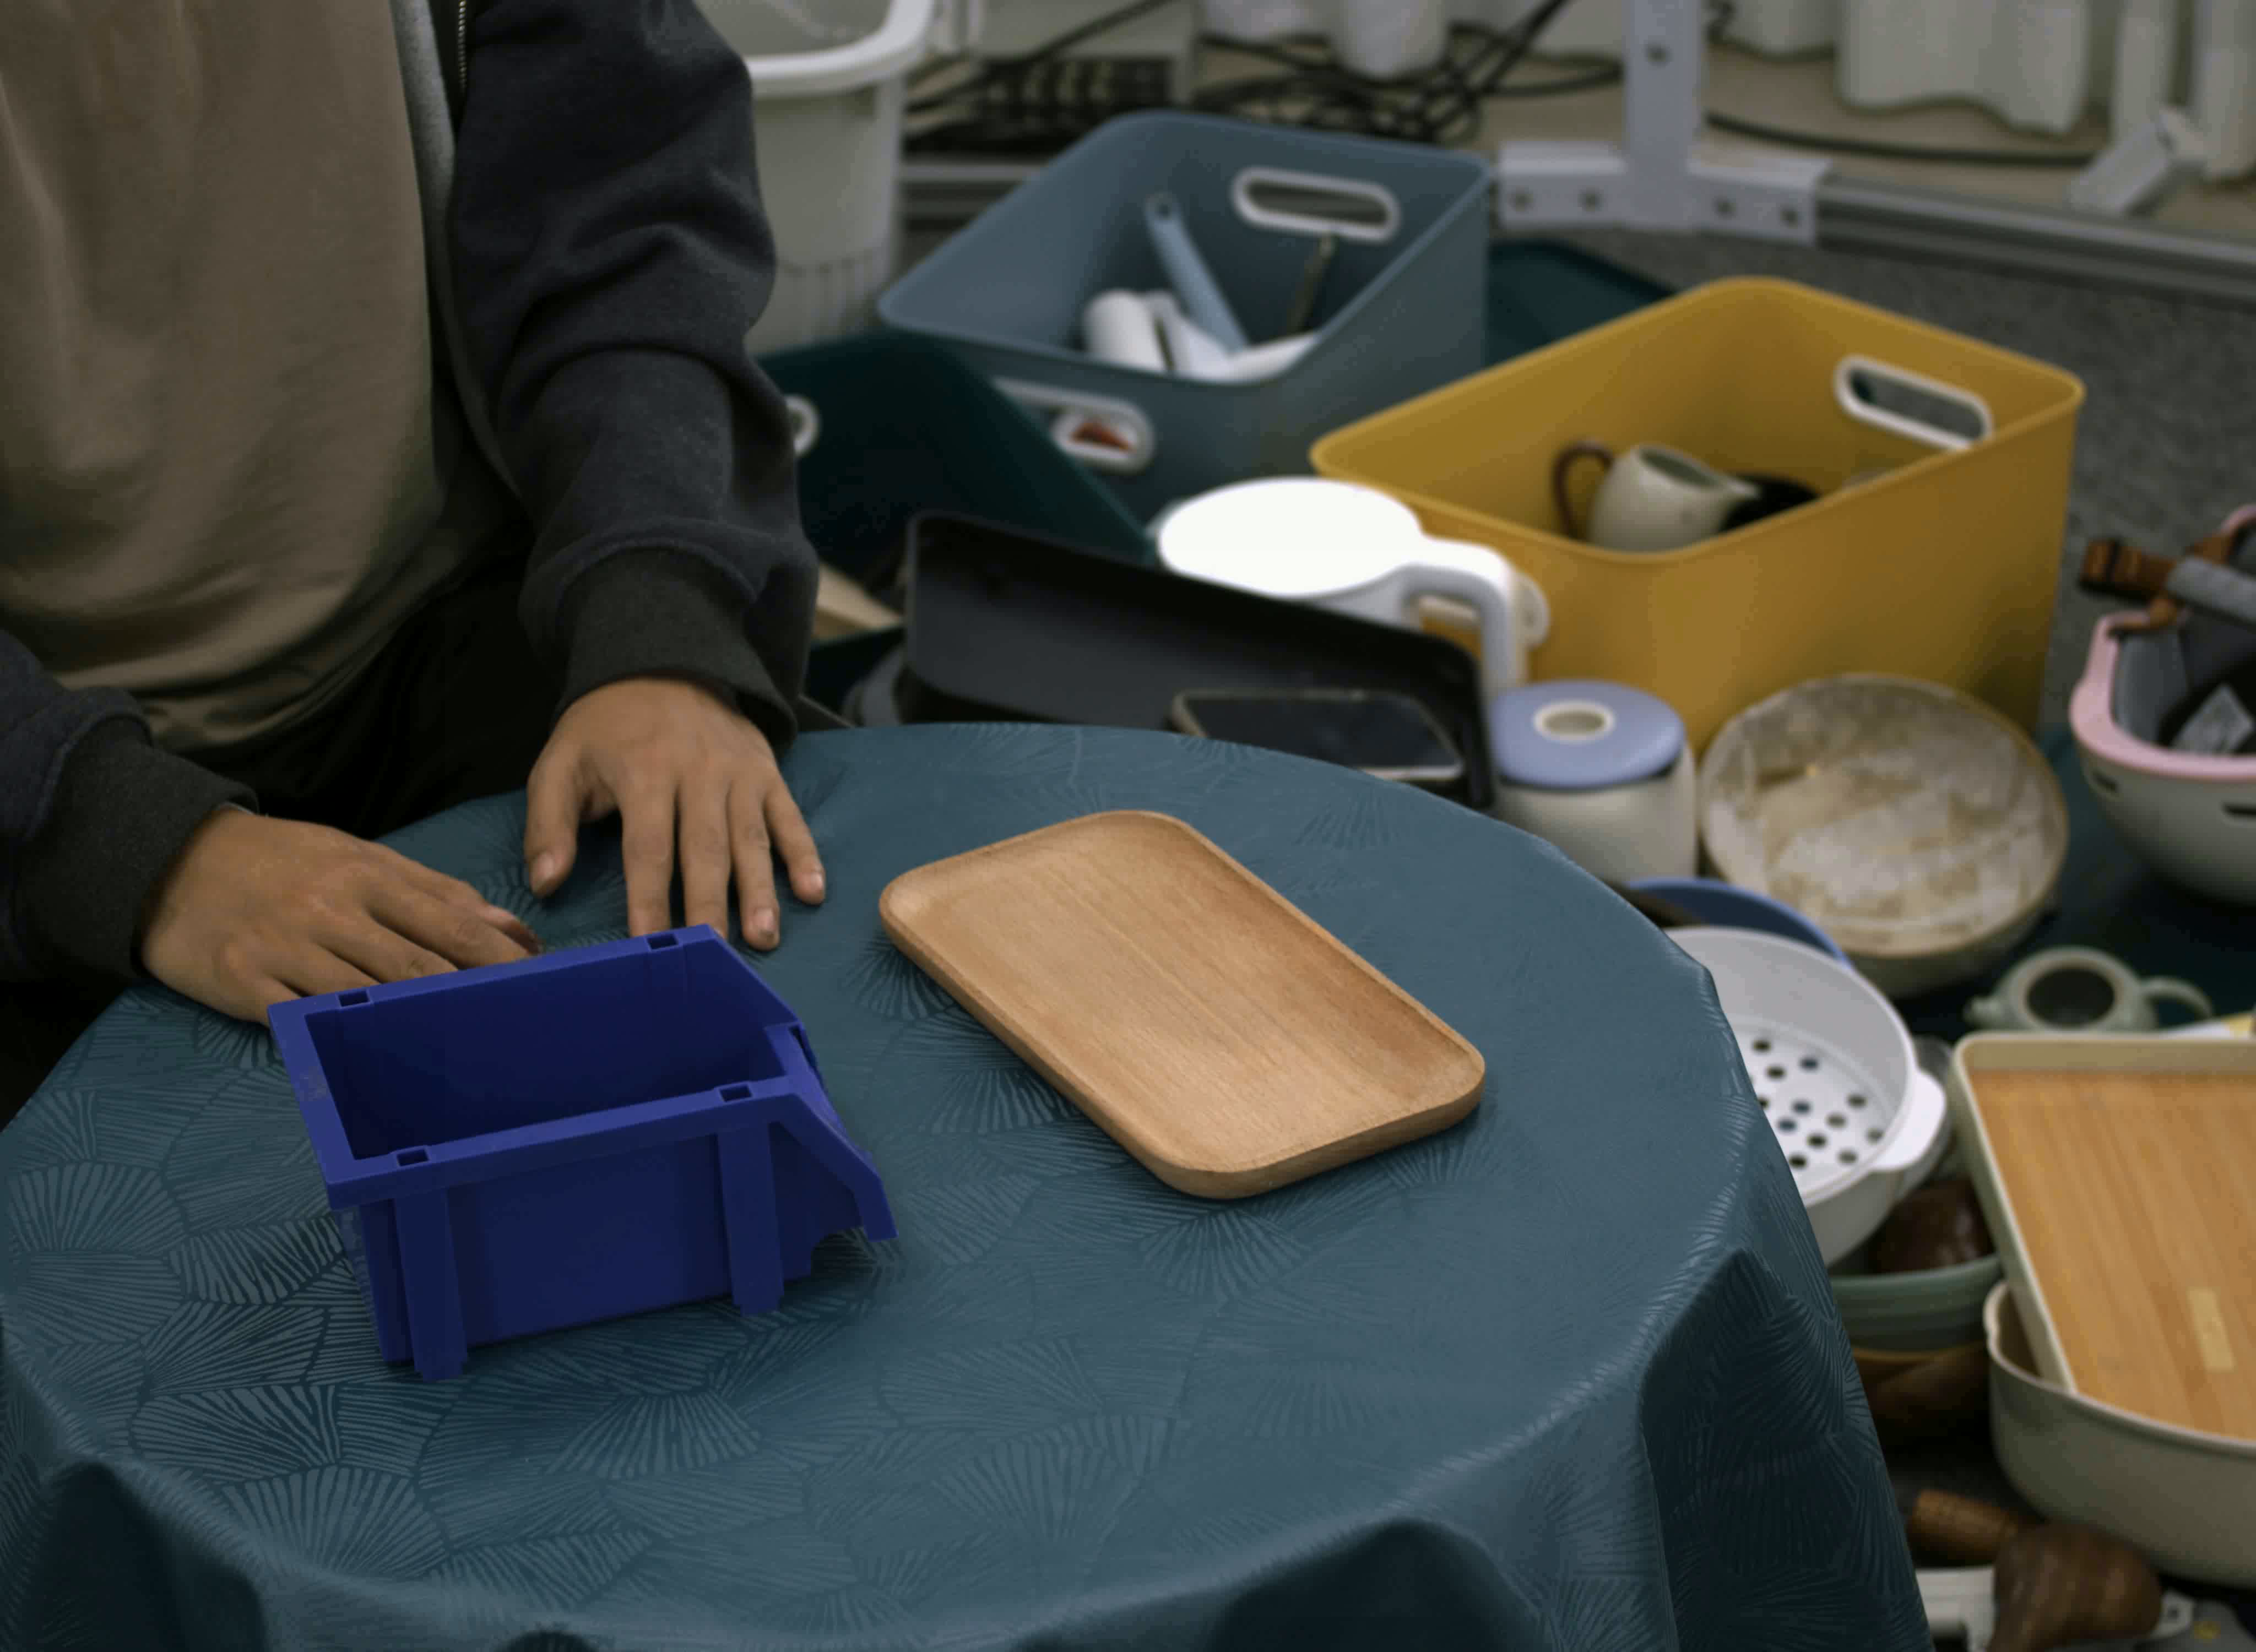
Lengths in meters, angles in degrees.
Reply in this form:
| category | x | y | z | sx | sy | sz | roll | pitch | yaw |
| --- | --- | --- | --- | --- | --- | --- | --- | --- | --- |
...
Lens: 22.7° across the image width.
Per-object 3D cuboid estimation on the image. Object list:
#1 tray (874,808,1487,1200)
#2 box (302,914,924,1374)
| category | x | y | z | sx | sy | sz | roll | pitch | yaw |
| --- | --- | --- | --- | --- | --- | --- | --- | --- | --- |
| tray | 0.015 | 0.060 | 1.961 | 0.131 | 0.022 | 0.252 | -14 | 29 | -26 |
| box | -0.168 | 0.100 | 1.832 | 0.179 | 0.081 | 0.126 | -12 | 28 | -11 |
